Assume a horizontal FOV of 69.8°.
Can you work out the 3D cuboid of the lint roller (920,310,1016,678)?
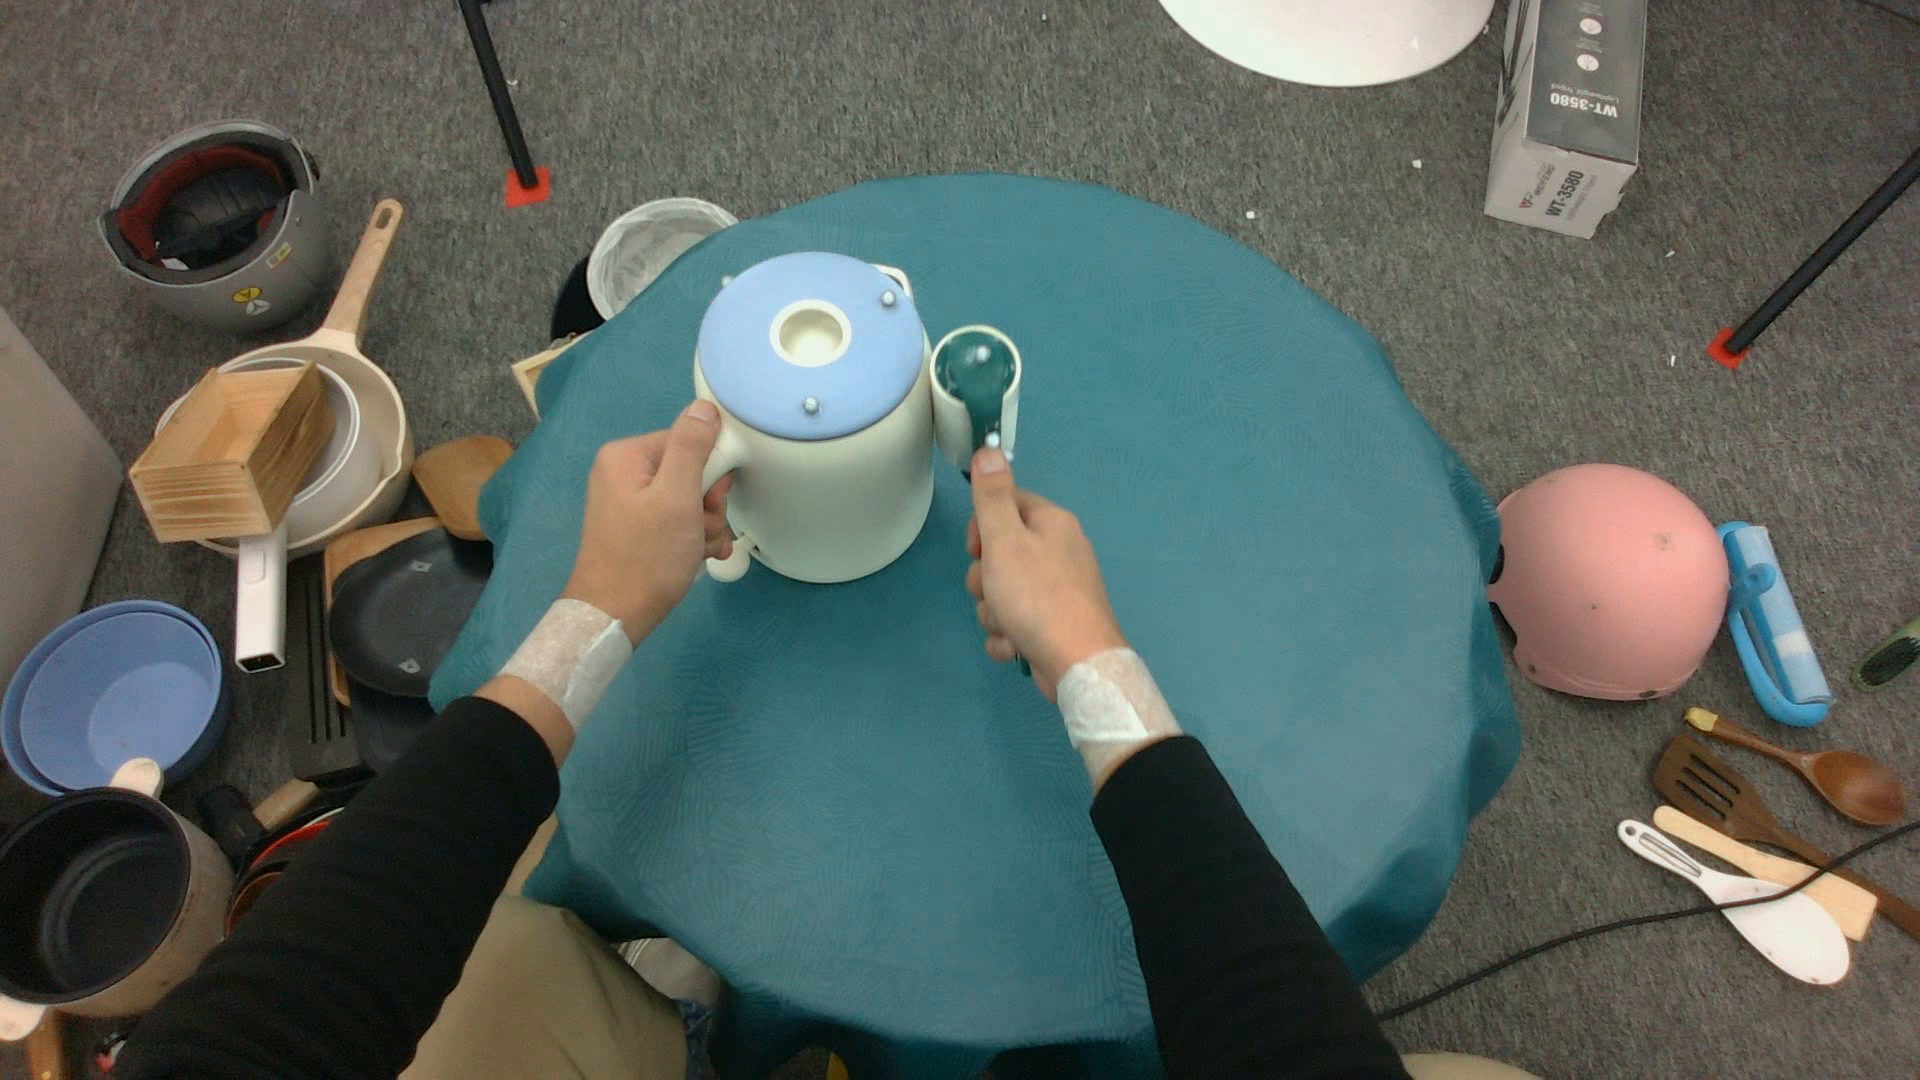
[{"bbox_3d":[0.020,-0.018,0.738,0.048,0.134,0.180,-16,75,-7],"label":"lint roller"}]

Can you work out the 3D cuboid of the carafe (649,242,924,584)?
[{"bbox_3d":[-0.103,-0.054,0.782,0.132,0.182,0.192,38,69,16],"label":"carafe"}]
